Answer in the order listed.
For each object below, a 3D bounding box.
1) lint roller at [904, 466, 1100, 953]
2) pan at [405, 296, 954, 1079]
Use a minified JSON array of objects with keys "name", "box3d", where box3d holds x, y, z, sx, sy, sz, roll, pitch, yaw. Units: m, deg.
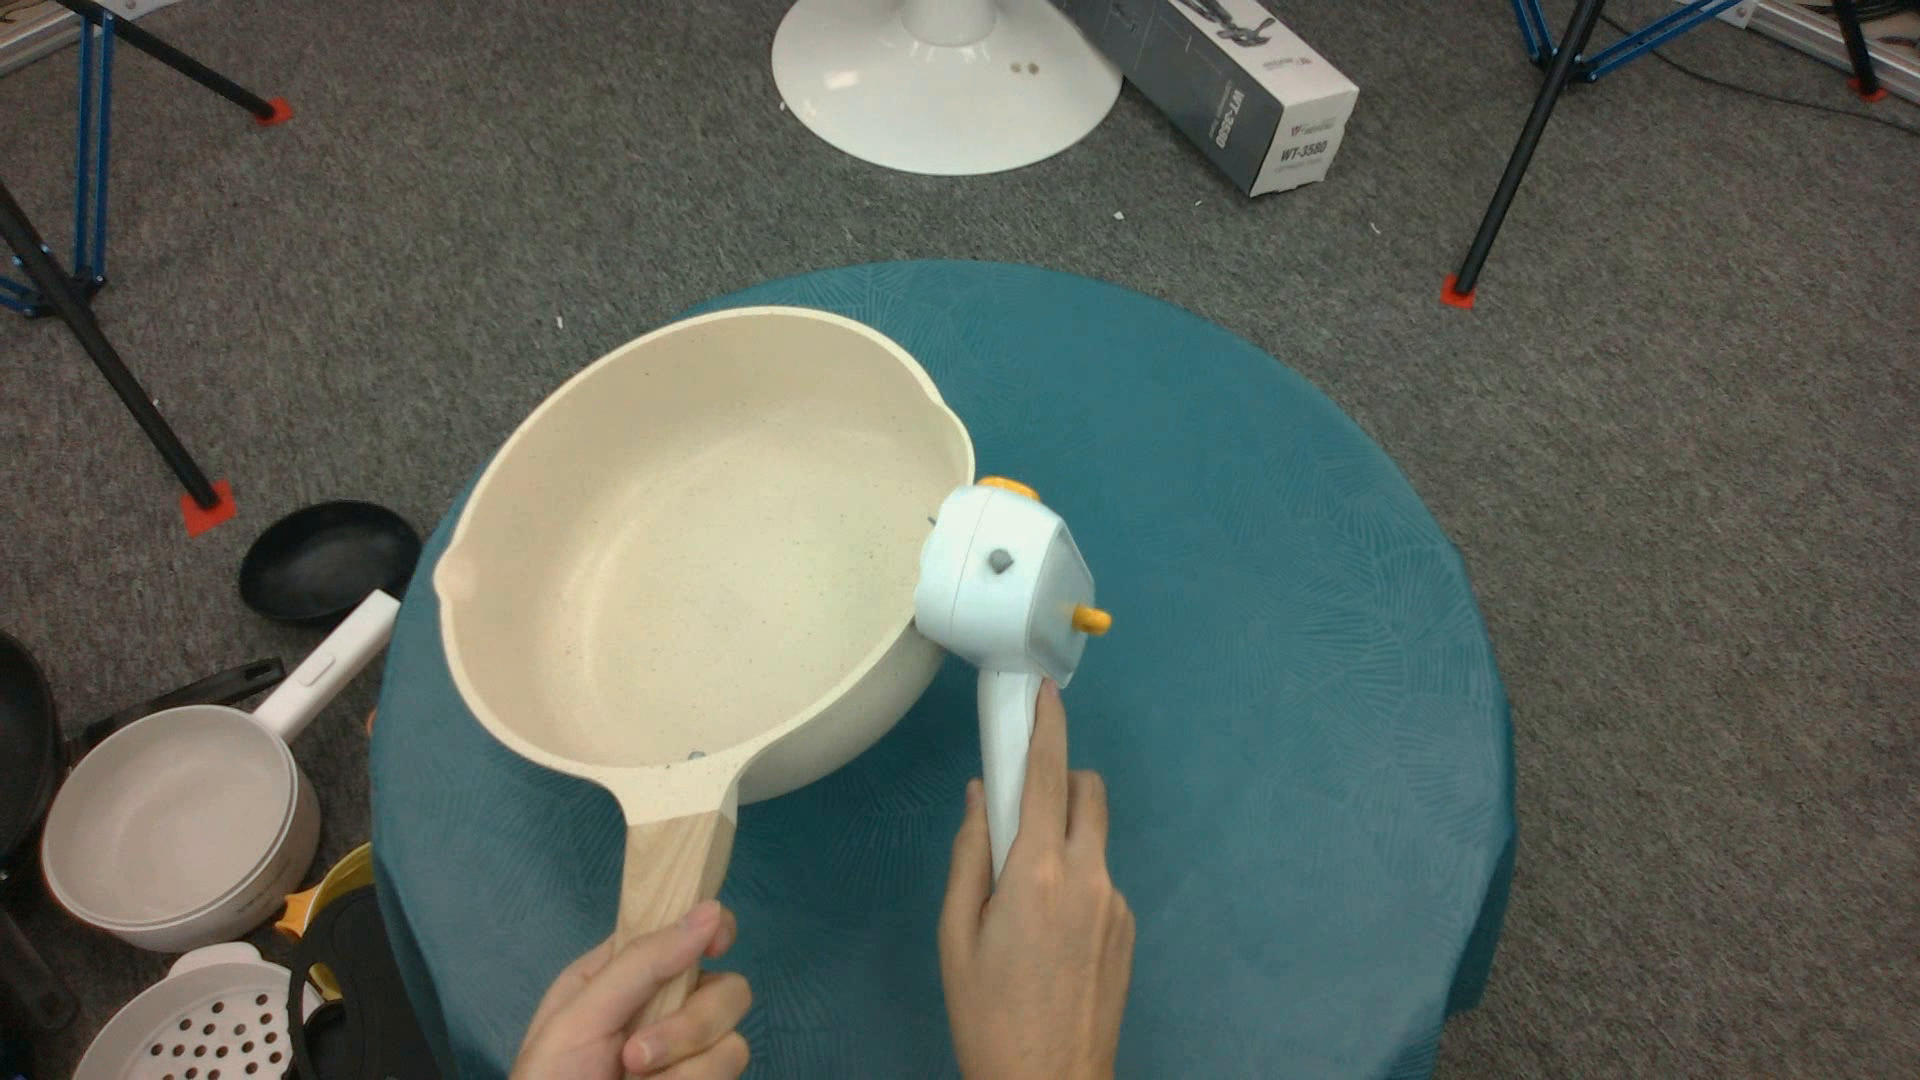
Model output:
[{"name":"lint roller","box3d":[0.017,0.076,0.590,0.074,0.192,0.192,7,83,6]},{"name":"pan","box3d":[-0.116,0.079,0.596,0.263,0.101,0.436,-11,56,8]}]
